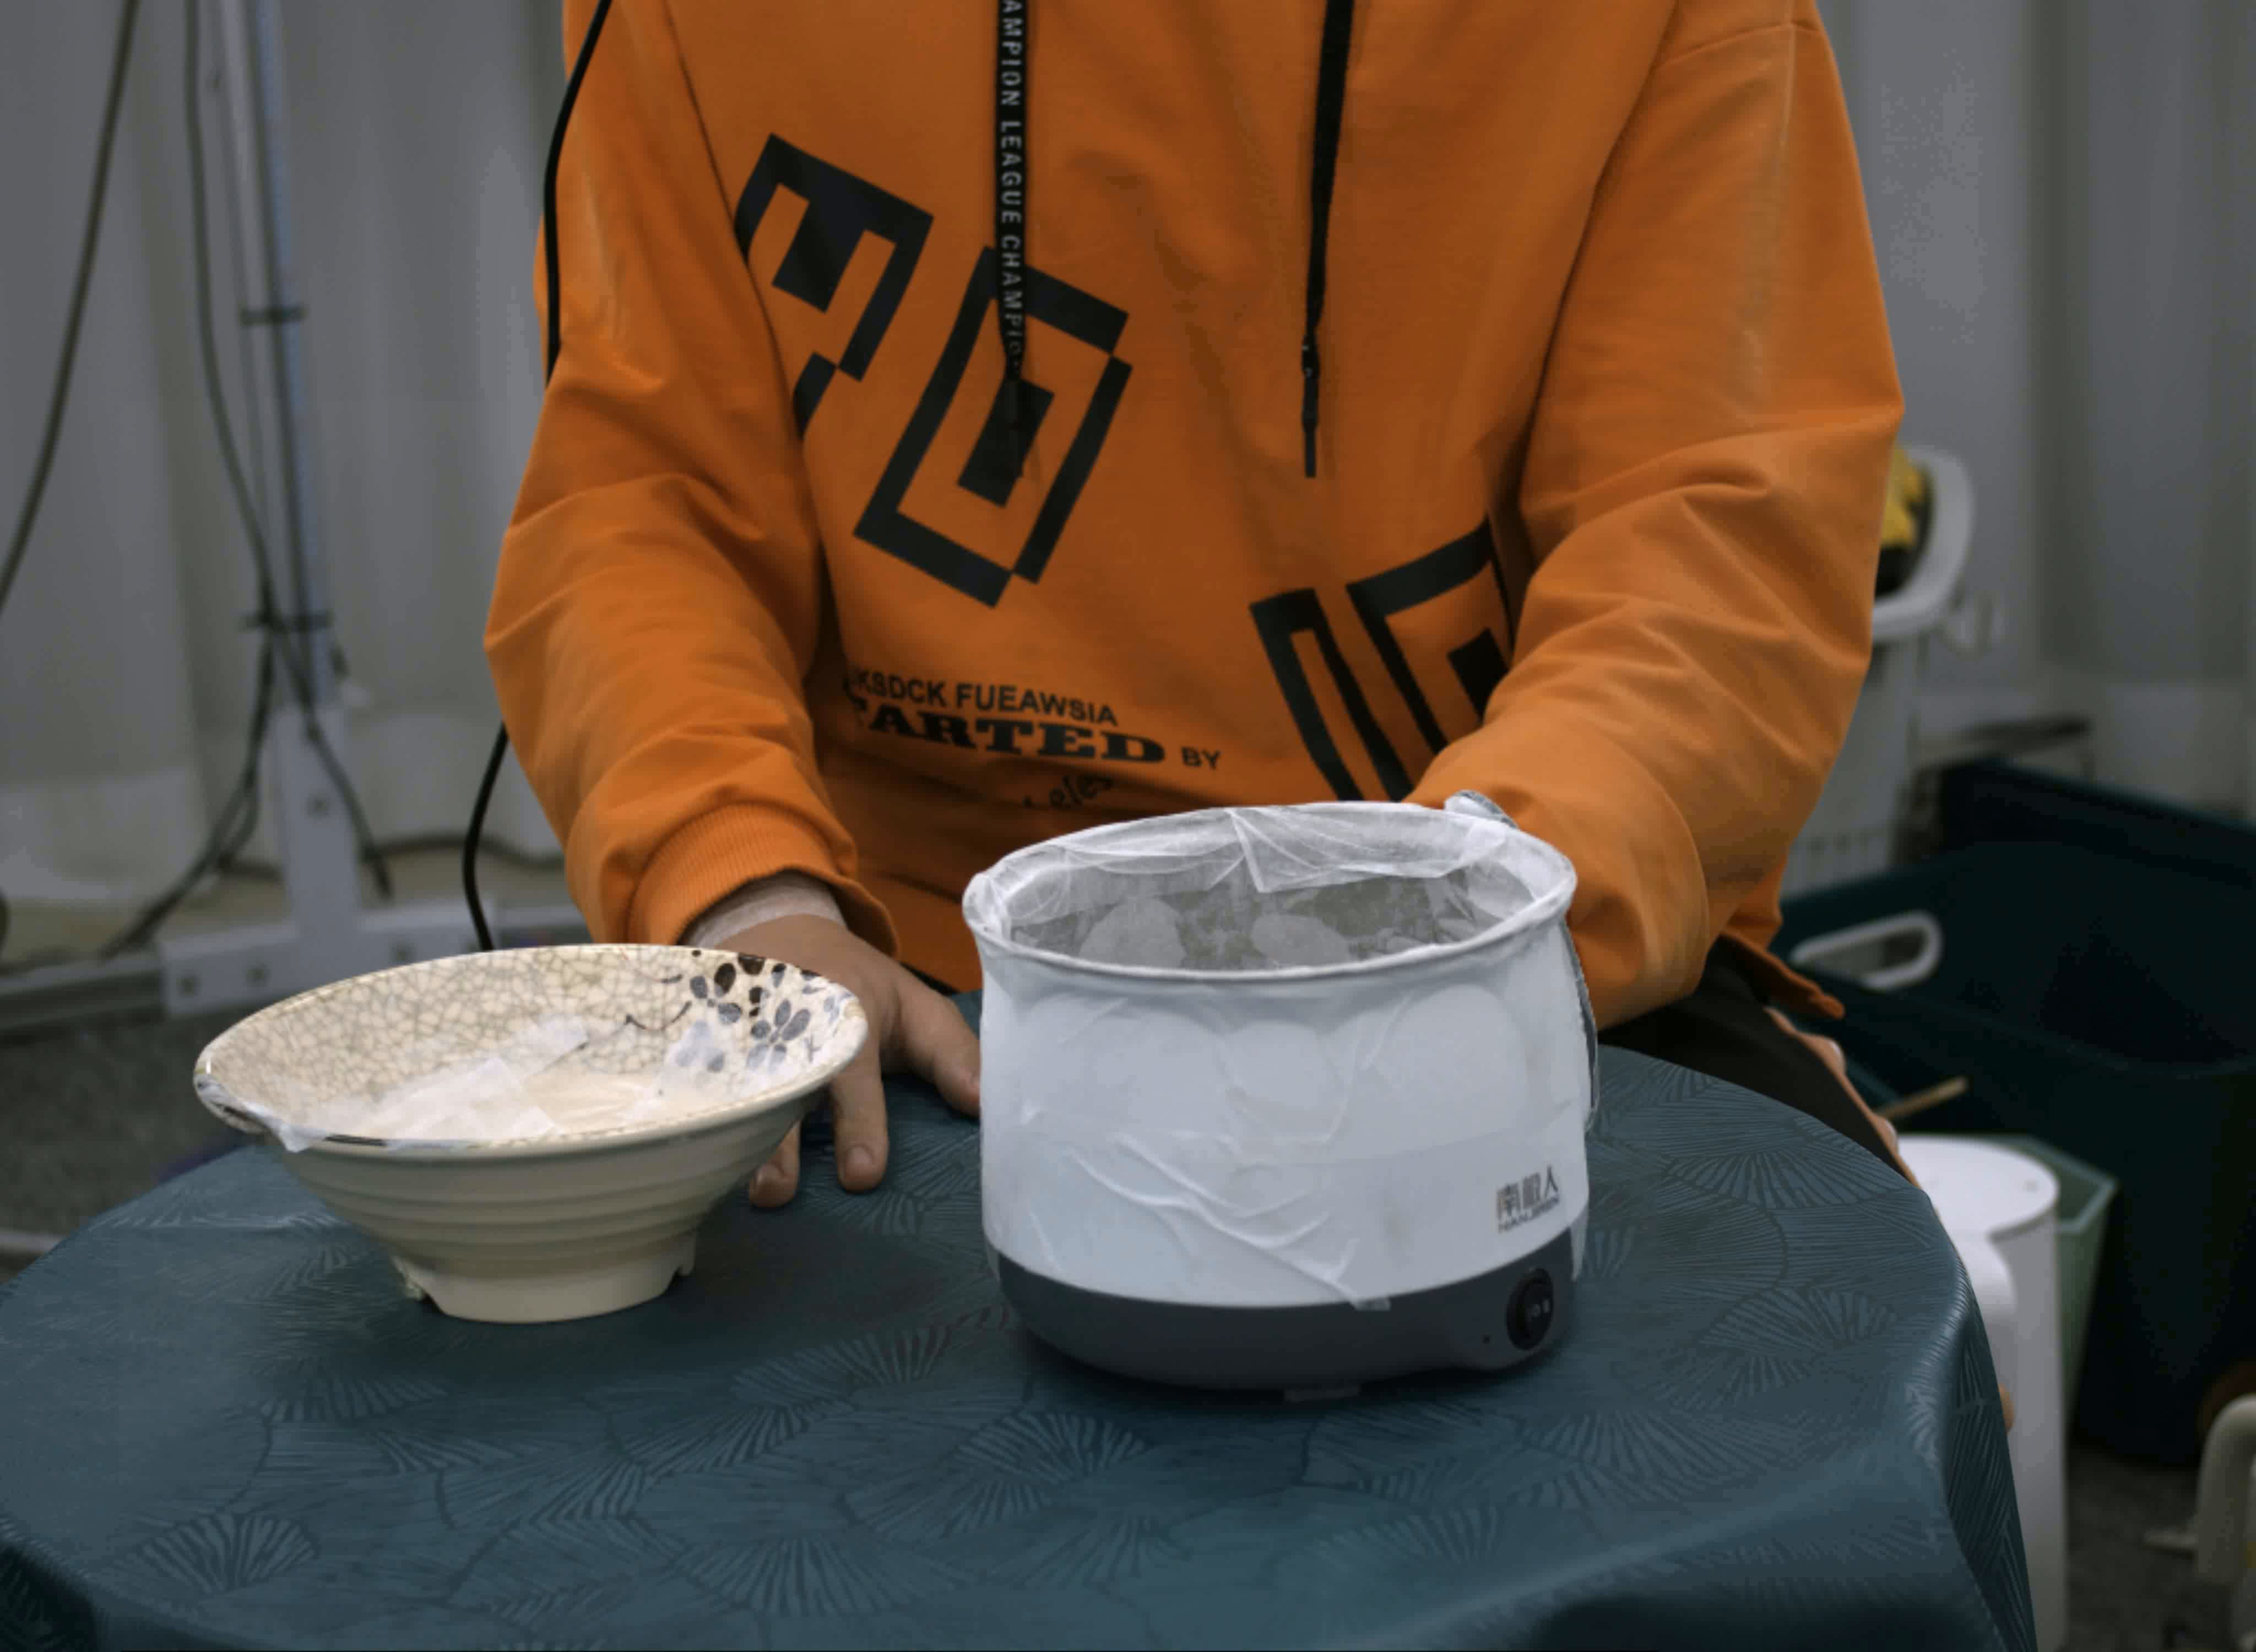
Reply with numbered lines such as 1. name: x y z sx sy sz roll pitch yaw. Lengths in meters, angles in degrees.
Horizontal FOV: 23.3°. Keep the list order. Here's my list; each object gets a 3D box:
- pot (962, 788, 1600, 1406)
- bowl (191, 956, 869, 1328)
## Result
1. pot: 0.060 0.071 1.601 0.179 0.136 0.233 9 19 36
2. bowl: -0.178 0.102 1.655 0.203 0.078 0.205 -3 13 0
